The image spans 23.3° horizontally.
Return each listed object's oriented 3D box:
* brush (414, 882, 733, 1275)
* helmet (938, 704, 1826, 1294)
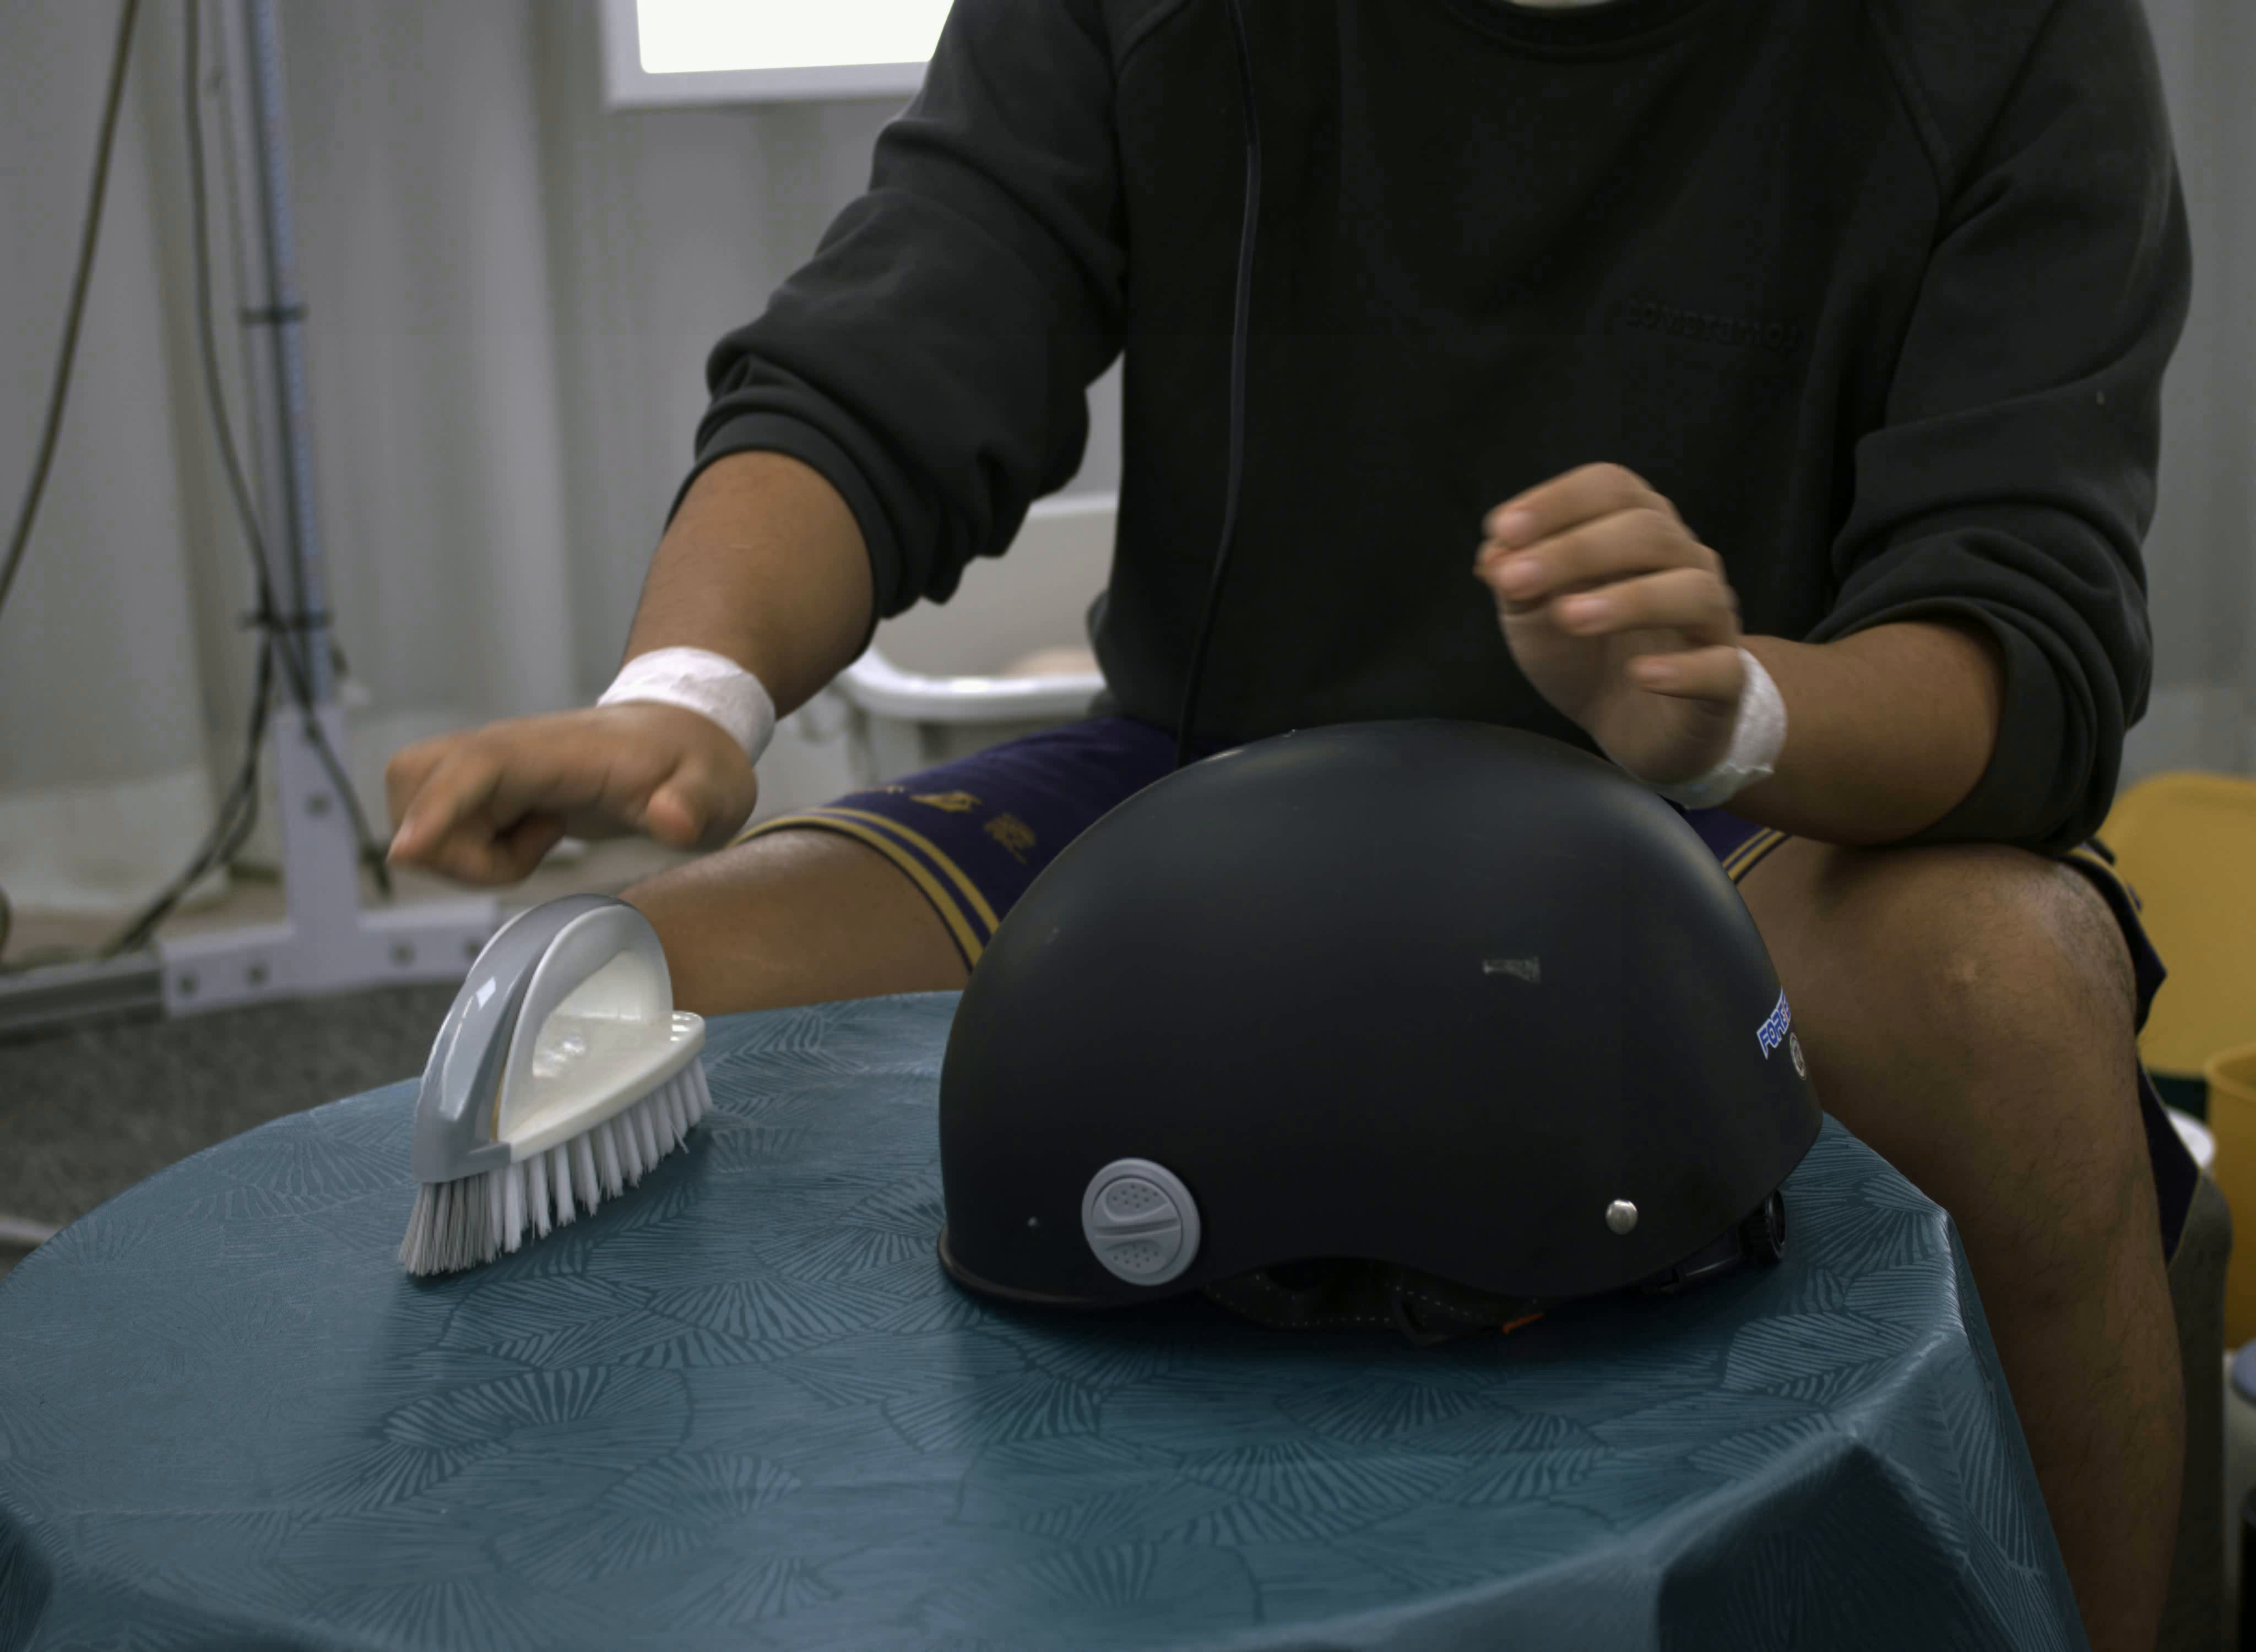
[{"bbox_3d":[-0.185,0.074,1.730,0.061,0.094,0.176,-1,15,21],"label":"brush"},{"bbox_3d":[0.070,0.049,1.641,0.273,0.166,0.231,0,14,19],"label":"helmet"}]
